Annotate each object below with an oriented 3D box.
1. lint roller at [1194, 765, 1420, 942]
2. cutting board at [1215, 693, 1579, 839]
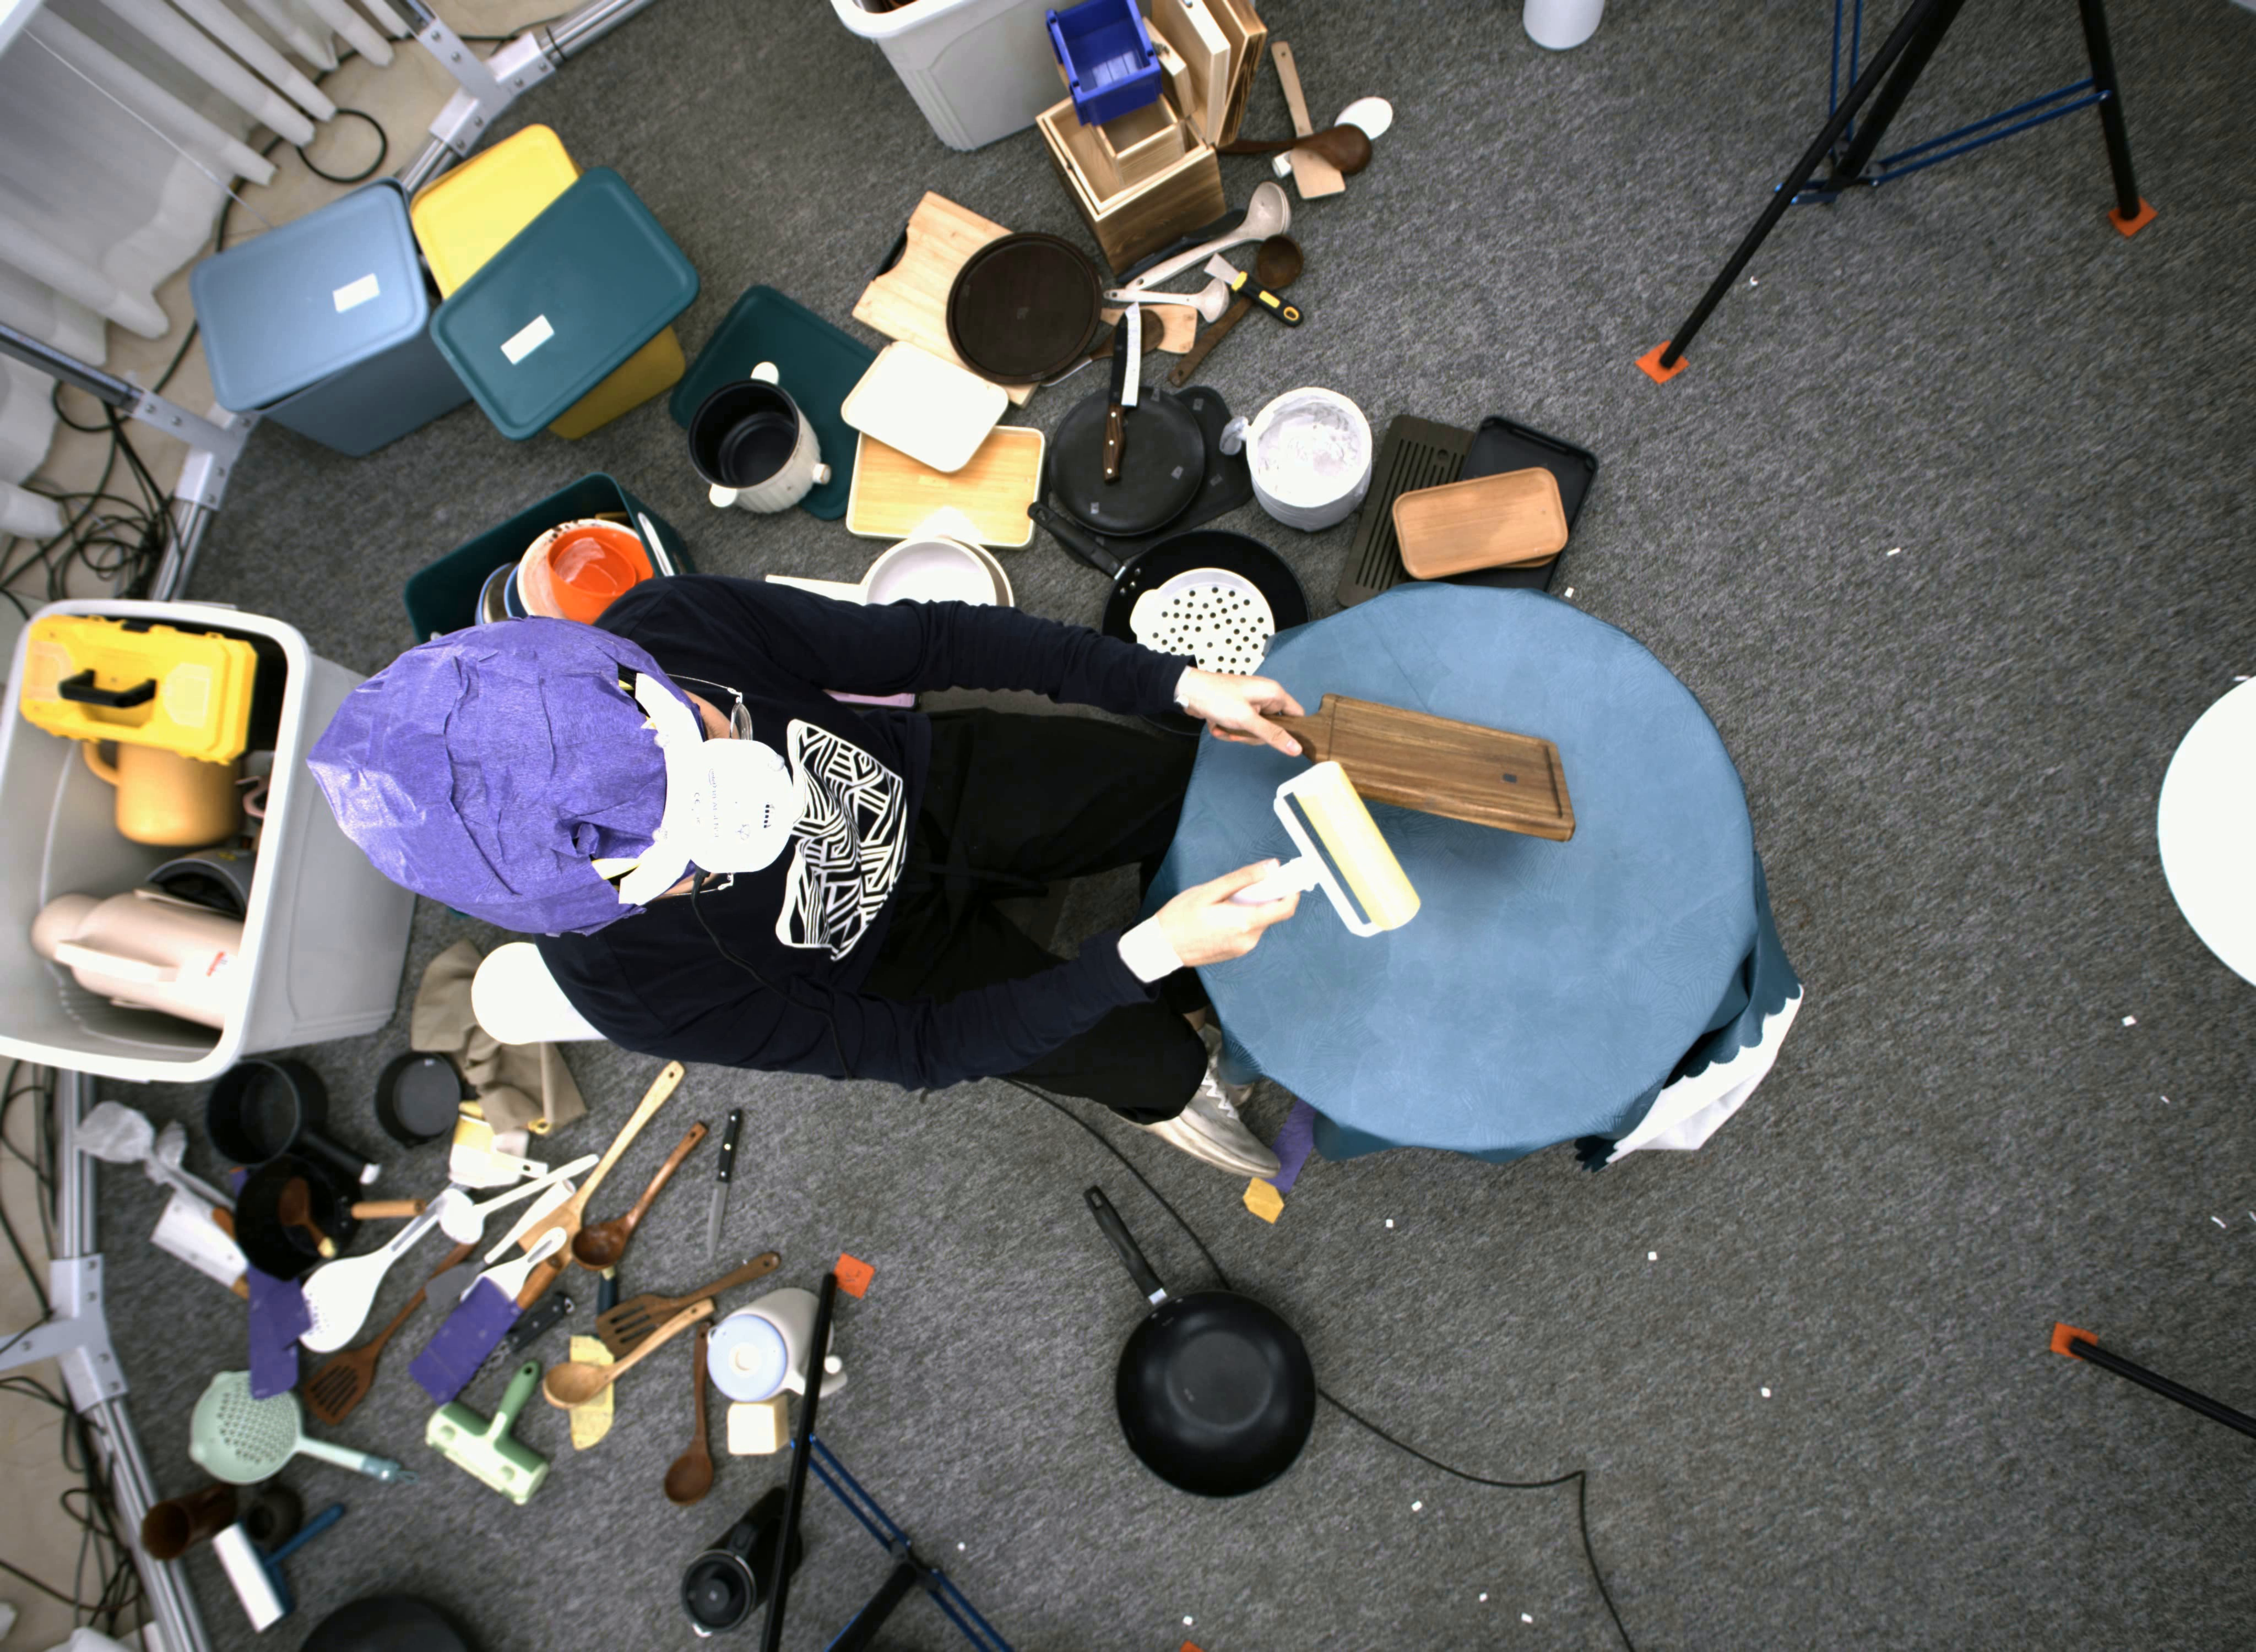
[{"bbox_3d":[0.145,0.058,1.258,0.193,0.050,0.176,-32,114,11],"label":"lint roller"},{"bbox_3d":[0.261,-0.076,1.364,0.353,0.196,0.024,12,120,5],"label":"cutting board"}]
